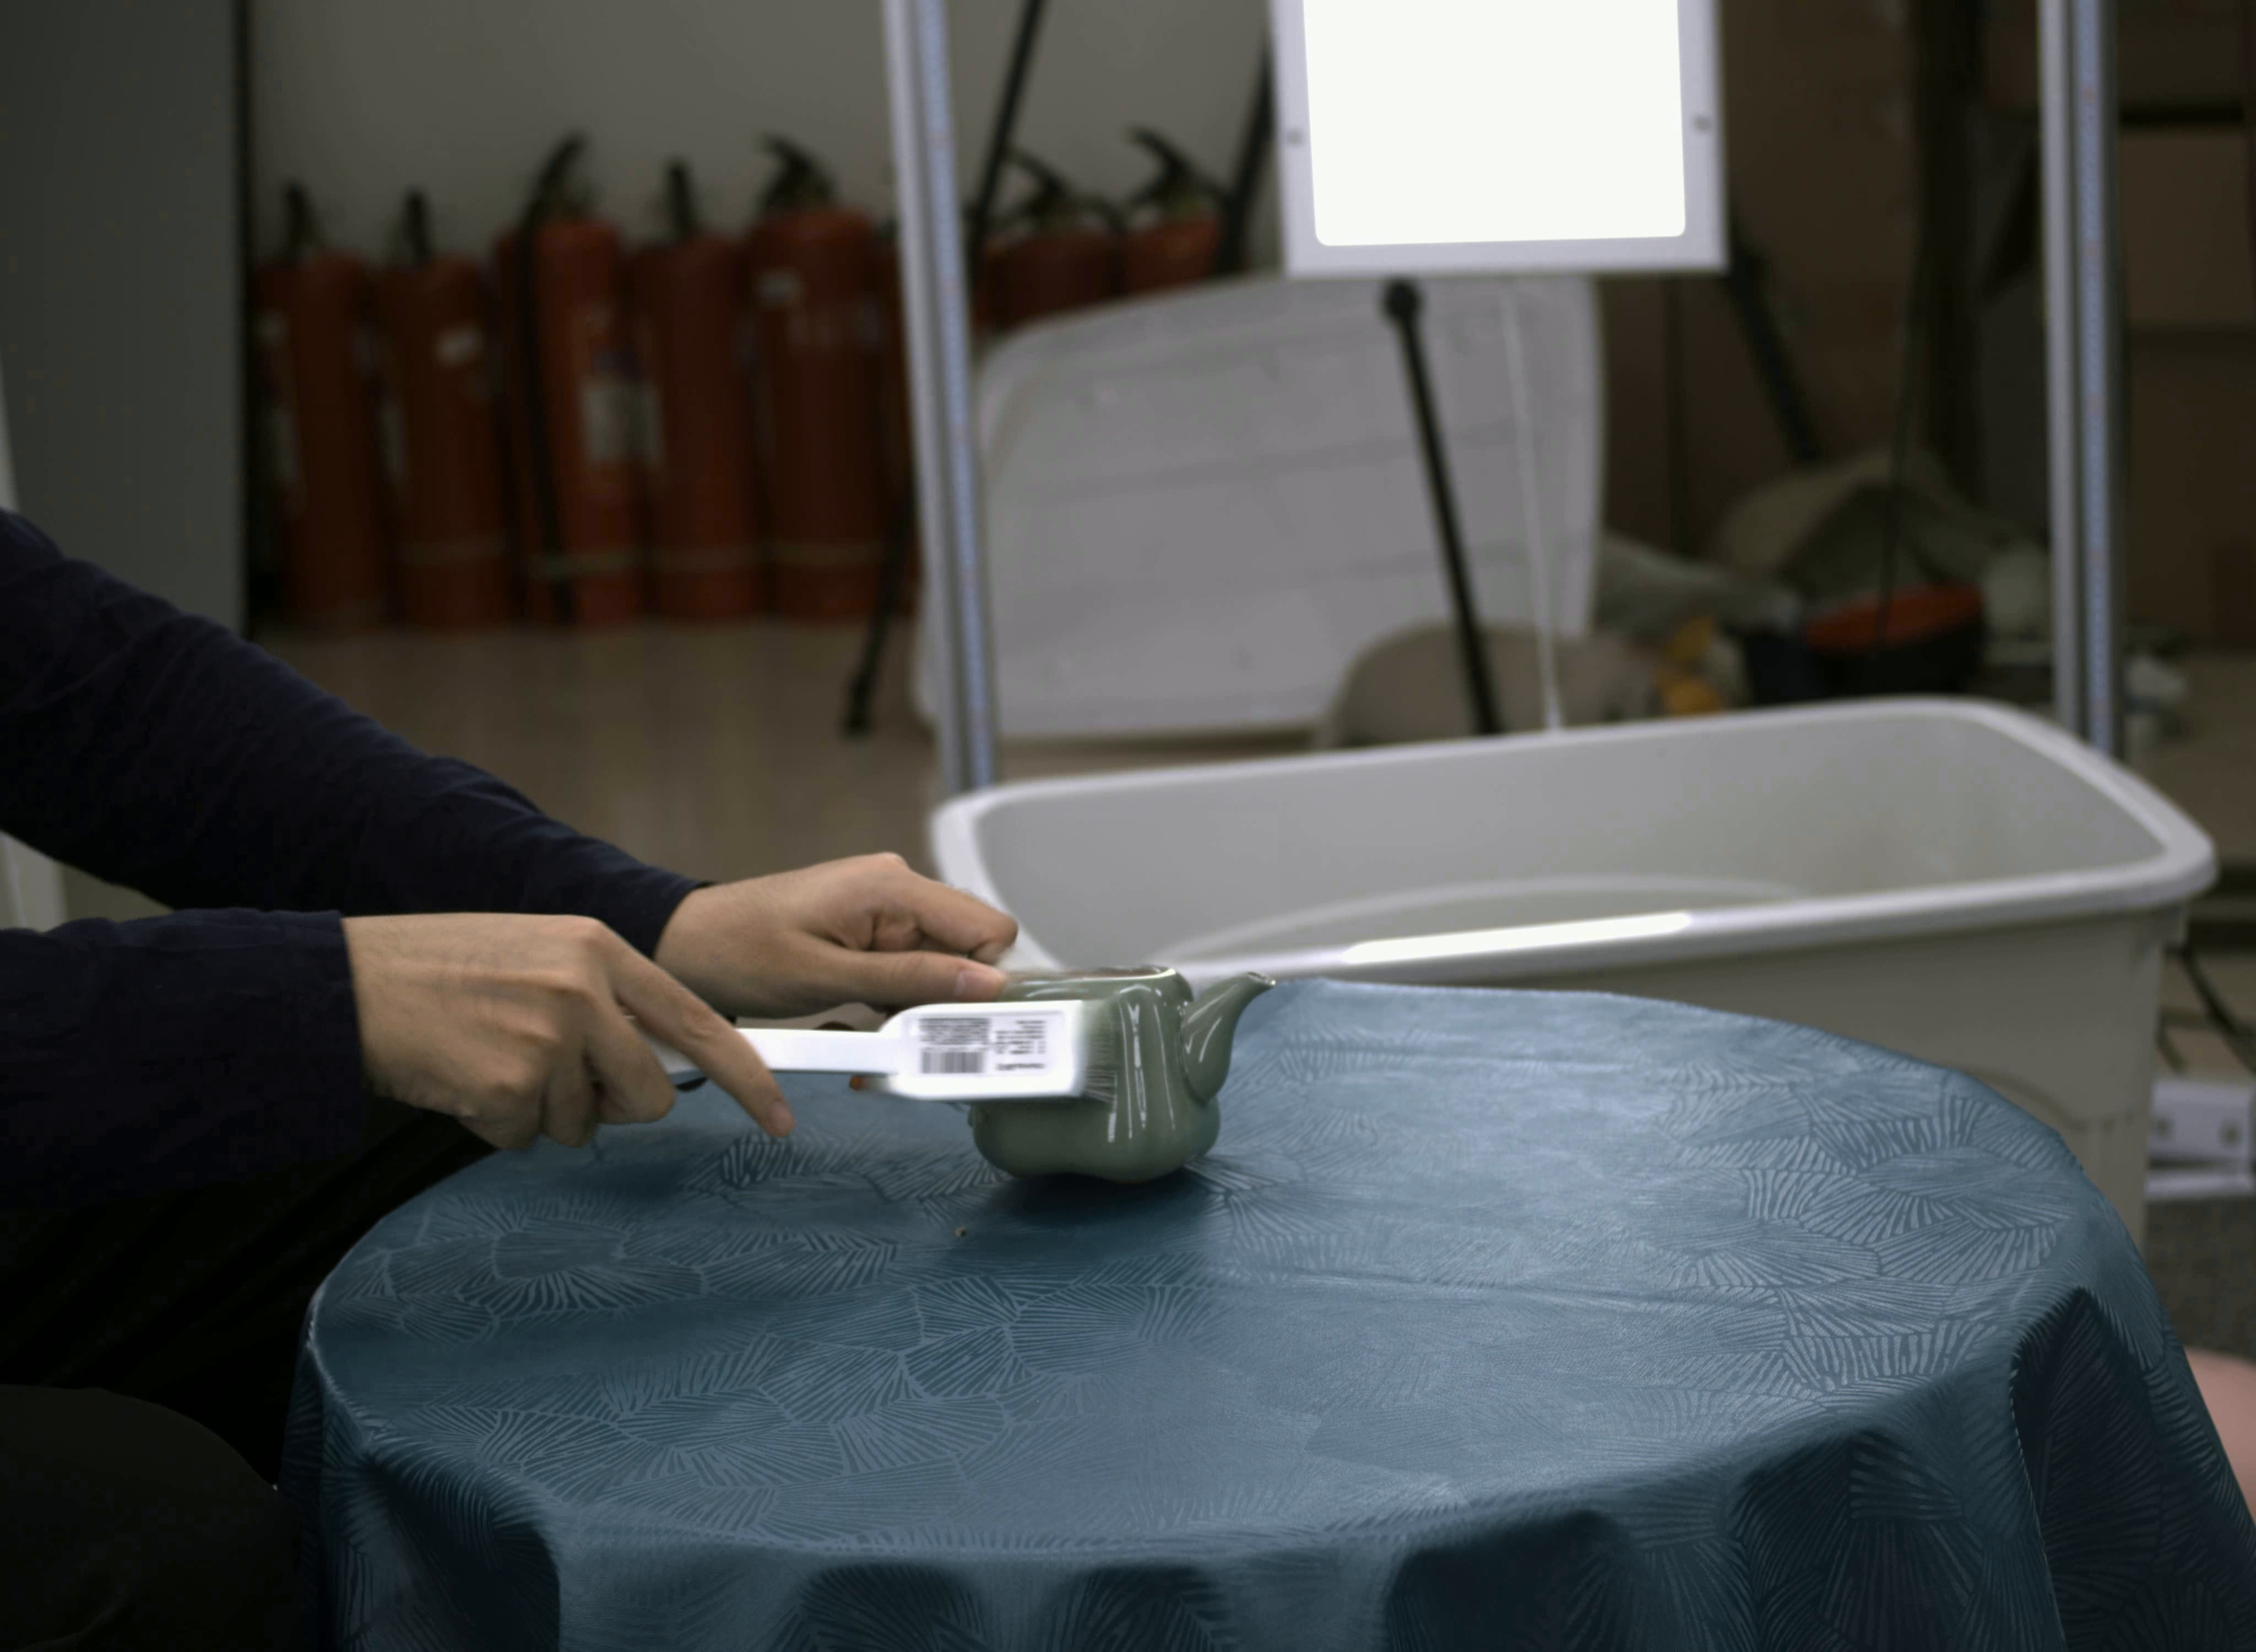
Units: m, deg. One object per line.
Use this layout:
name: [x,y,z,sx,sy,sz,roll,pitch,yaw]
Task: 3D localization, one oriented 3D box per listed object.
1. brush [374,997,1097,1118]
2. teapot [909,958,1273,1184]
brush: [-0.131,0.081,1.859,0.243,0.034,0.050,-3,-5,-1]
teapot: [-0.013,0.084,1.909,0.134,0.075,0.078,0,3,19]
